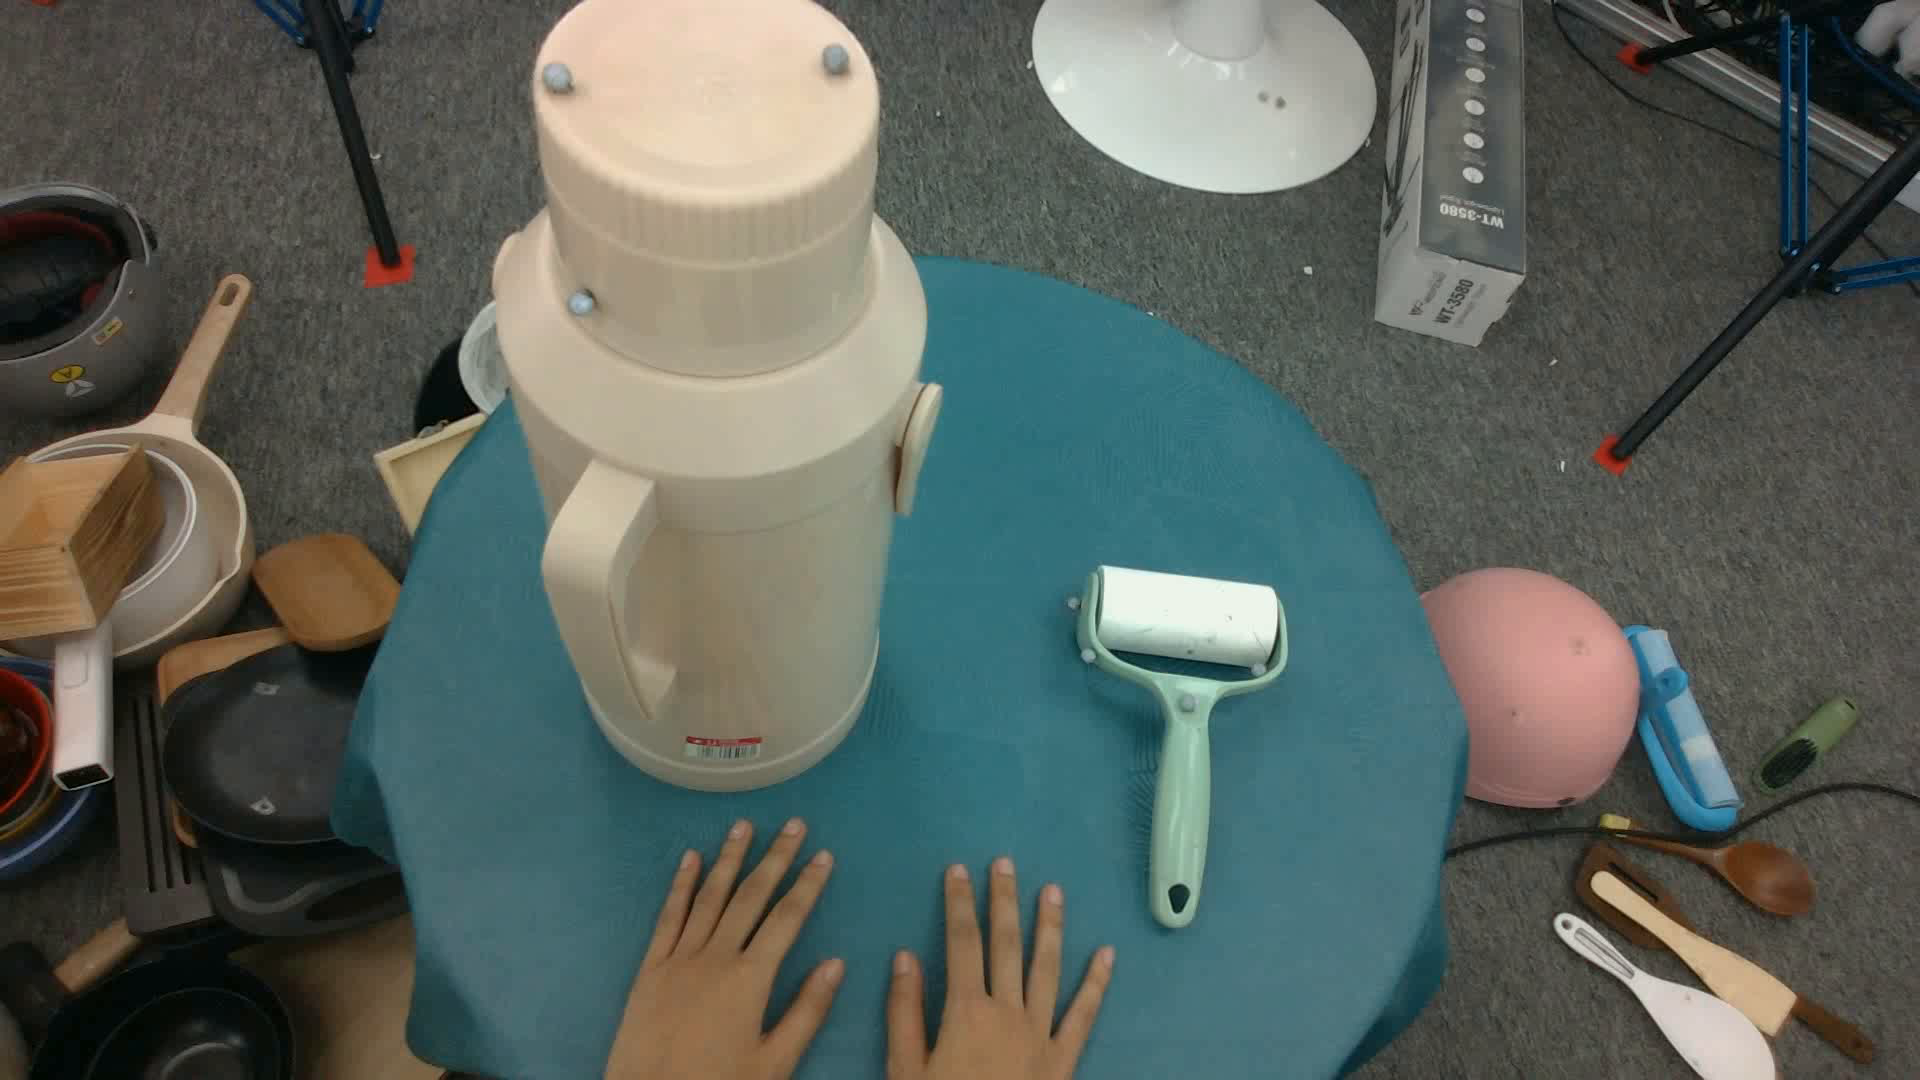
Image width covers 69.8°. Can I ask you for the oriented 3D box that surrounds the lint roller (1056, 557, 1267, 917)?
[{"bbox_3d":[0.108,0.101,0.745,0.117,0.048,0.198,10,57,-6],"label":"lint roller"}]

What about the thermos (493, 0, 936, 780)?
[{"bbox_3d":[-0.110,-0.031,0.587,0.175,0.404,0.208,20,58,3],"label":"thermos"}]
